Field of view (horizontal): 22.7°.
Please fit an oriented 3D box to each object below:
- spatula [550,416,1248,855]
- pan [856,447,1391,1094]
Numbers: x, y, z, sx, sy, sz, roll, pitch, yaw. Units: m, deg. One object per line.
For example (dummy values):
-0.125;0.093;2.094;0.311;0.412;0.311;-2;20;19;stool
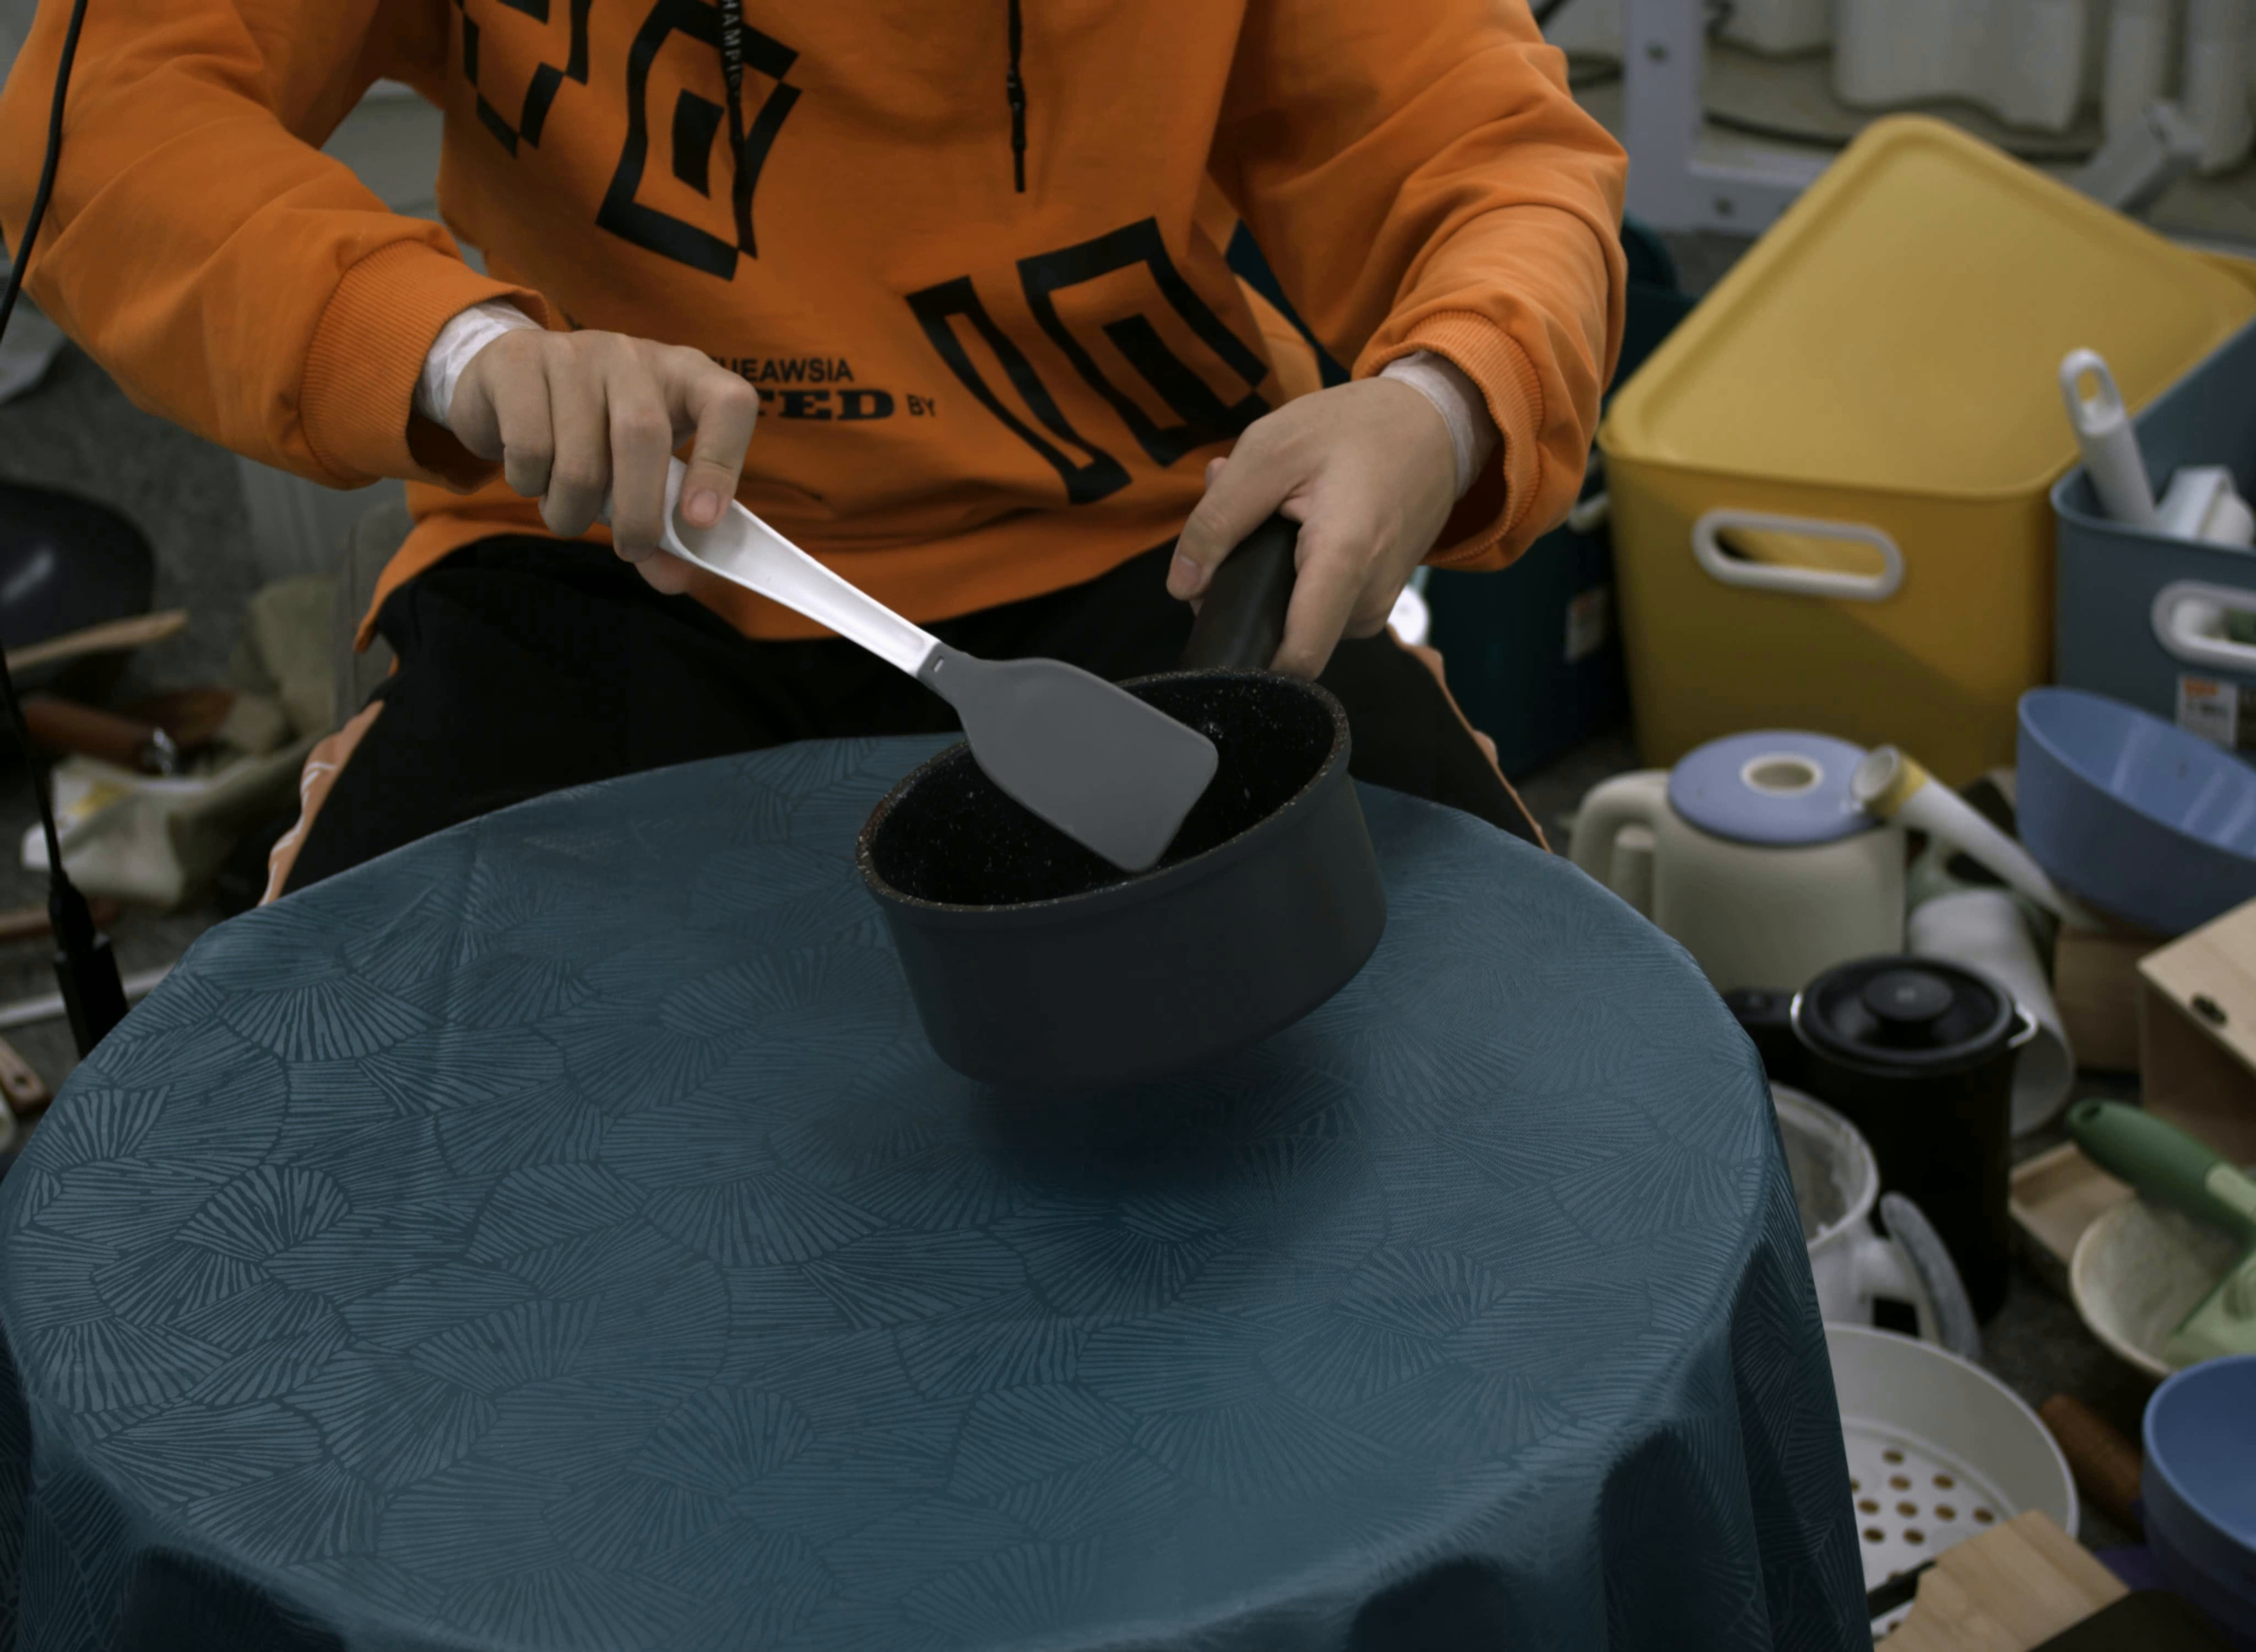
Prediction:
-0.084;-0.070;1.928;0.287;0.032;0.059;28;78;29;spatula
0.026;-0.022;1.951;0.170;0.086;0.335;-5;27;25;pan
